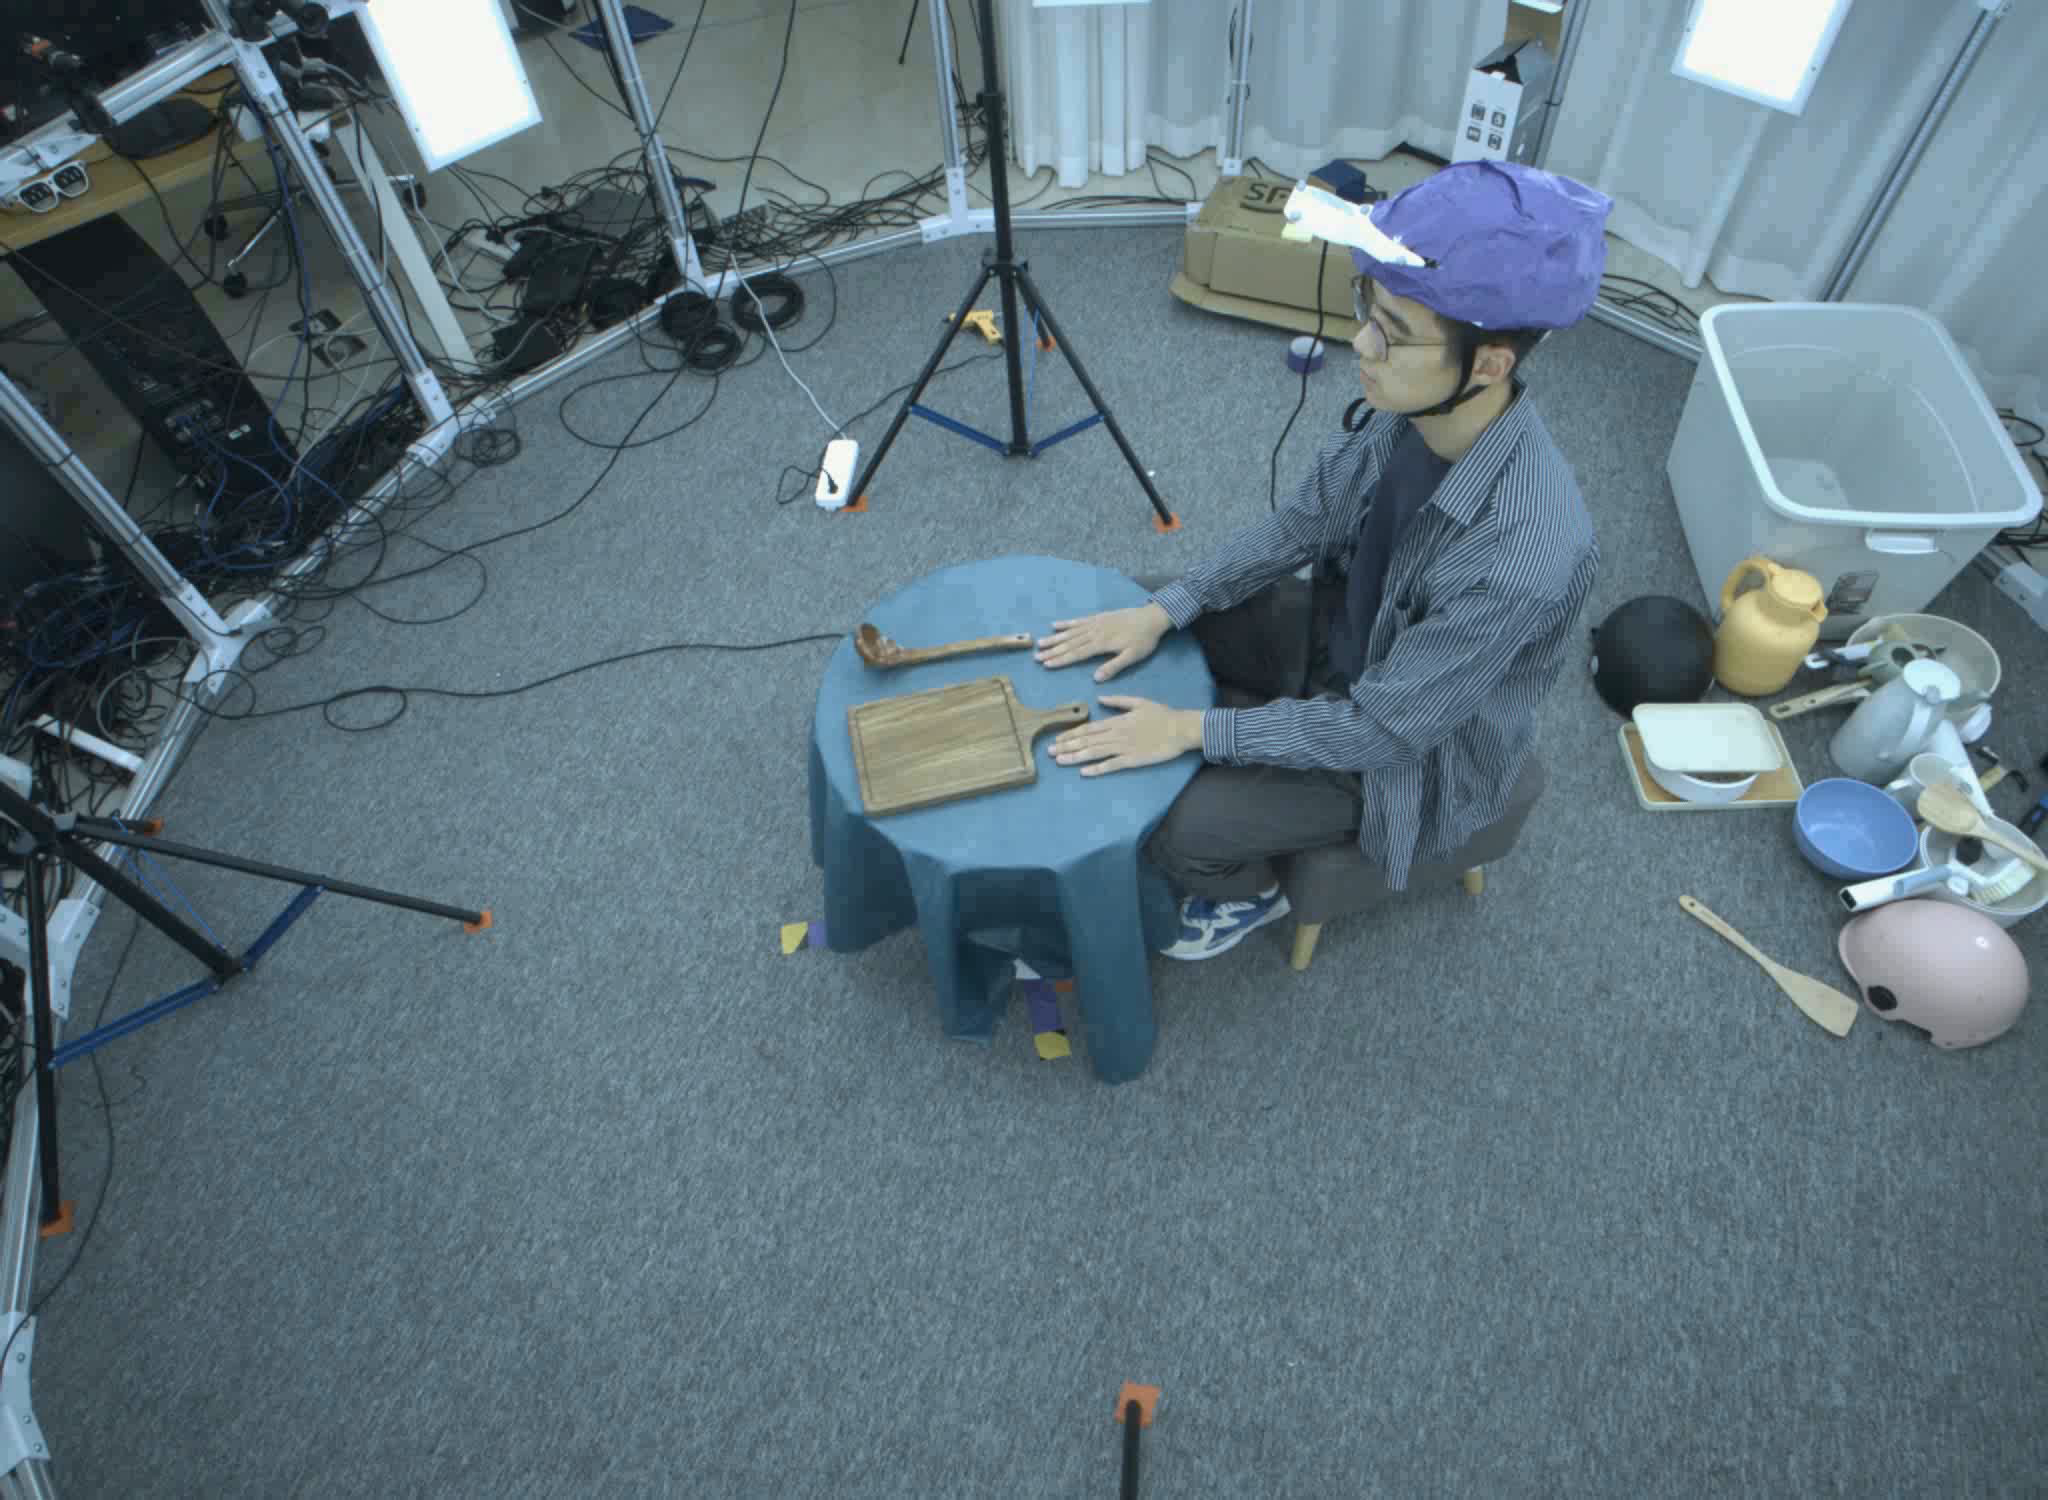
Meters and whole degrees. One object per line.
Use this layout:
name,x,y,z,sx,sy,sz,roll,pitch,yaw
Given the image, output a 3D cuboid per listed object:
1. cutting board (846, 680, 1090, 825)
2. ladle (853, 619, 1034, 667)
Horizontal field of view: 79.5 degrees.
cutting board,-0.075,-0.010,1.788,0.354,0.023,0.198,-11,55,-7
ladle,-0.123,-0.174,1.871,0.275,0.077,0.081,-7,50,-3
